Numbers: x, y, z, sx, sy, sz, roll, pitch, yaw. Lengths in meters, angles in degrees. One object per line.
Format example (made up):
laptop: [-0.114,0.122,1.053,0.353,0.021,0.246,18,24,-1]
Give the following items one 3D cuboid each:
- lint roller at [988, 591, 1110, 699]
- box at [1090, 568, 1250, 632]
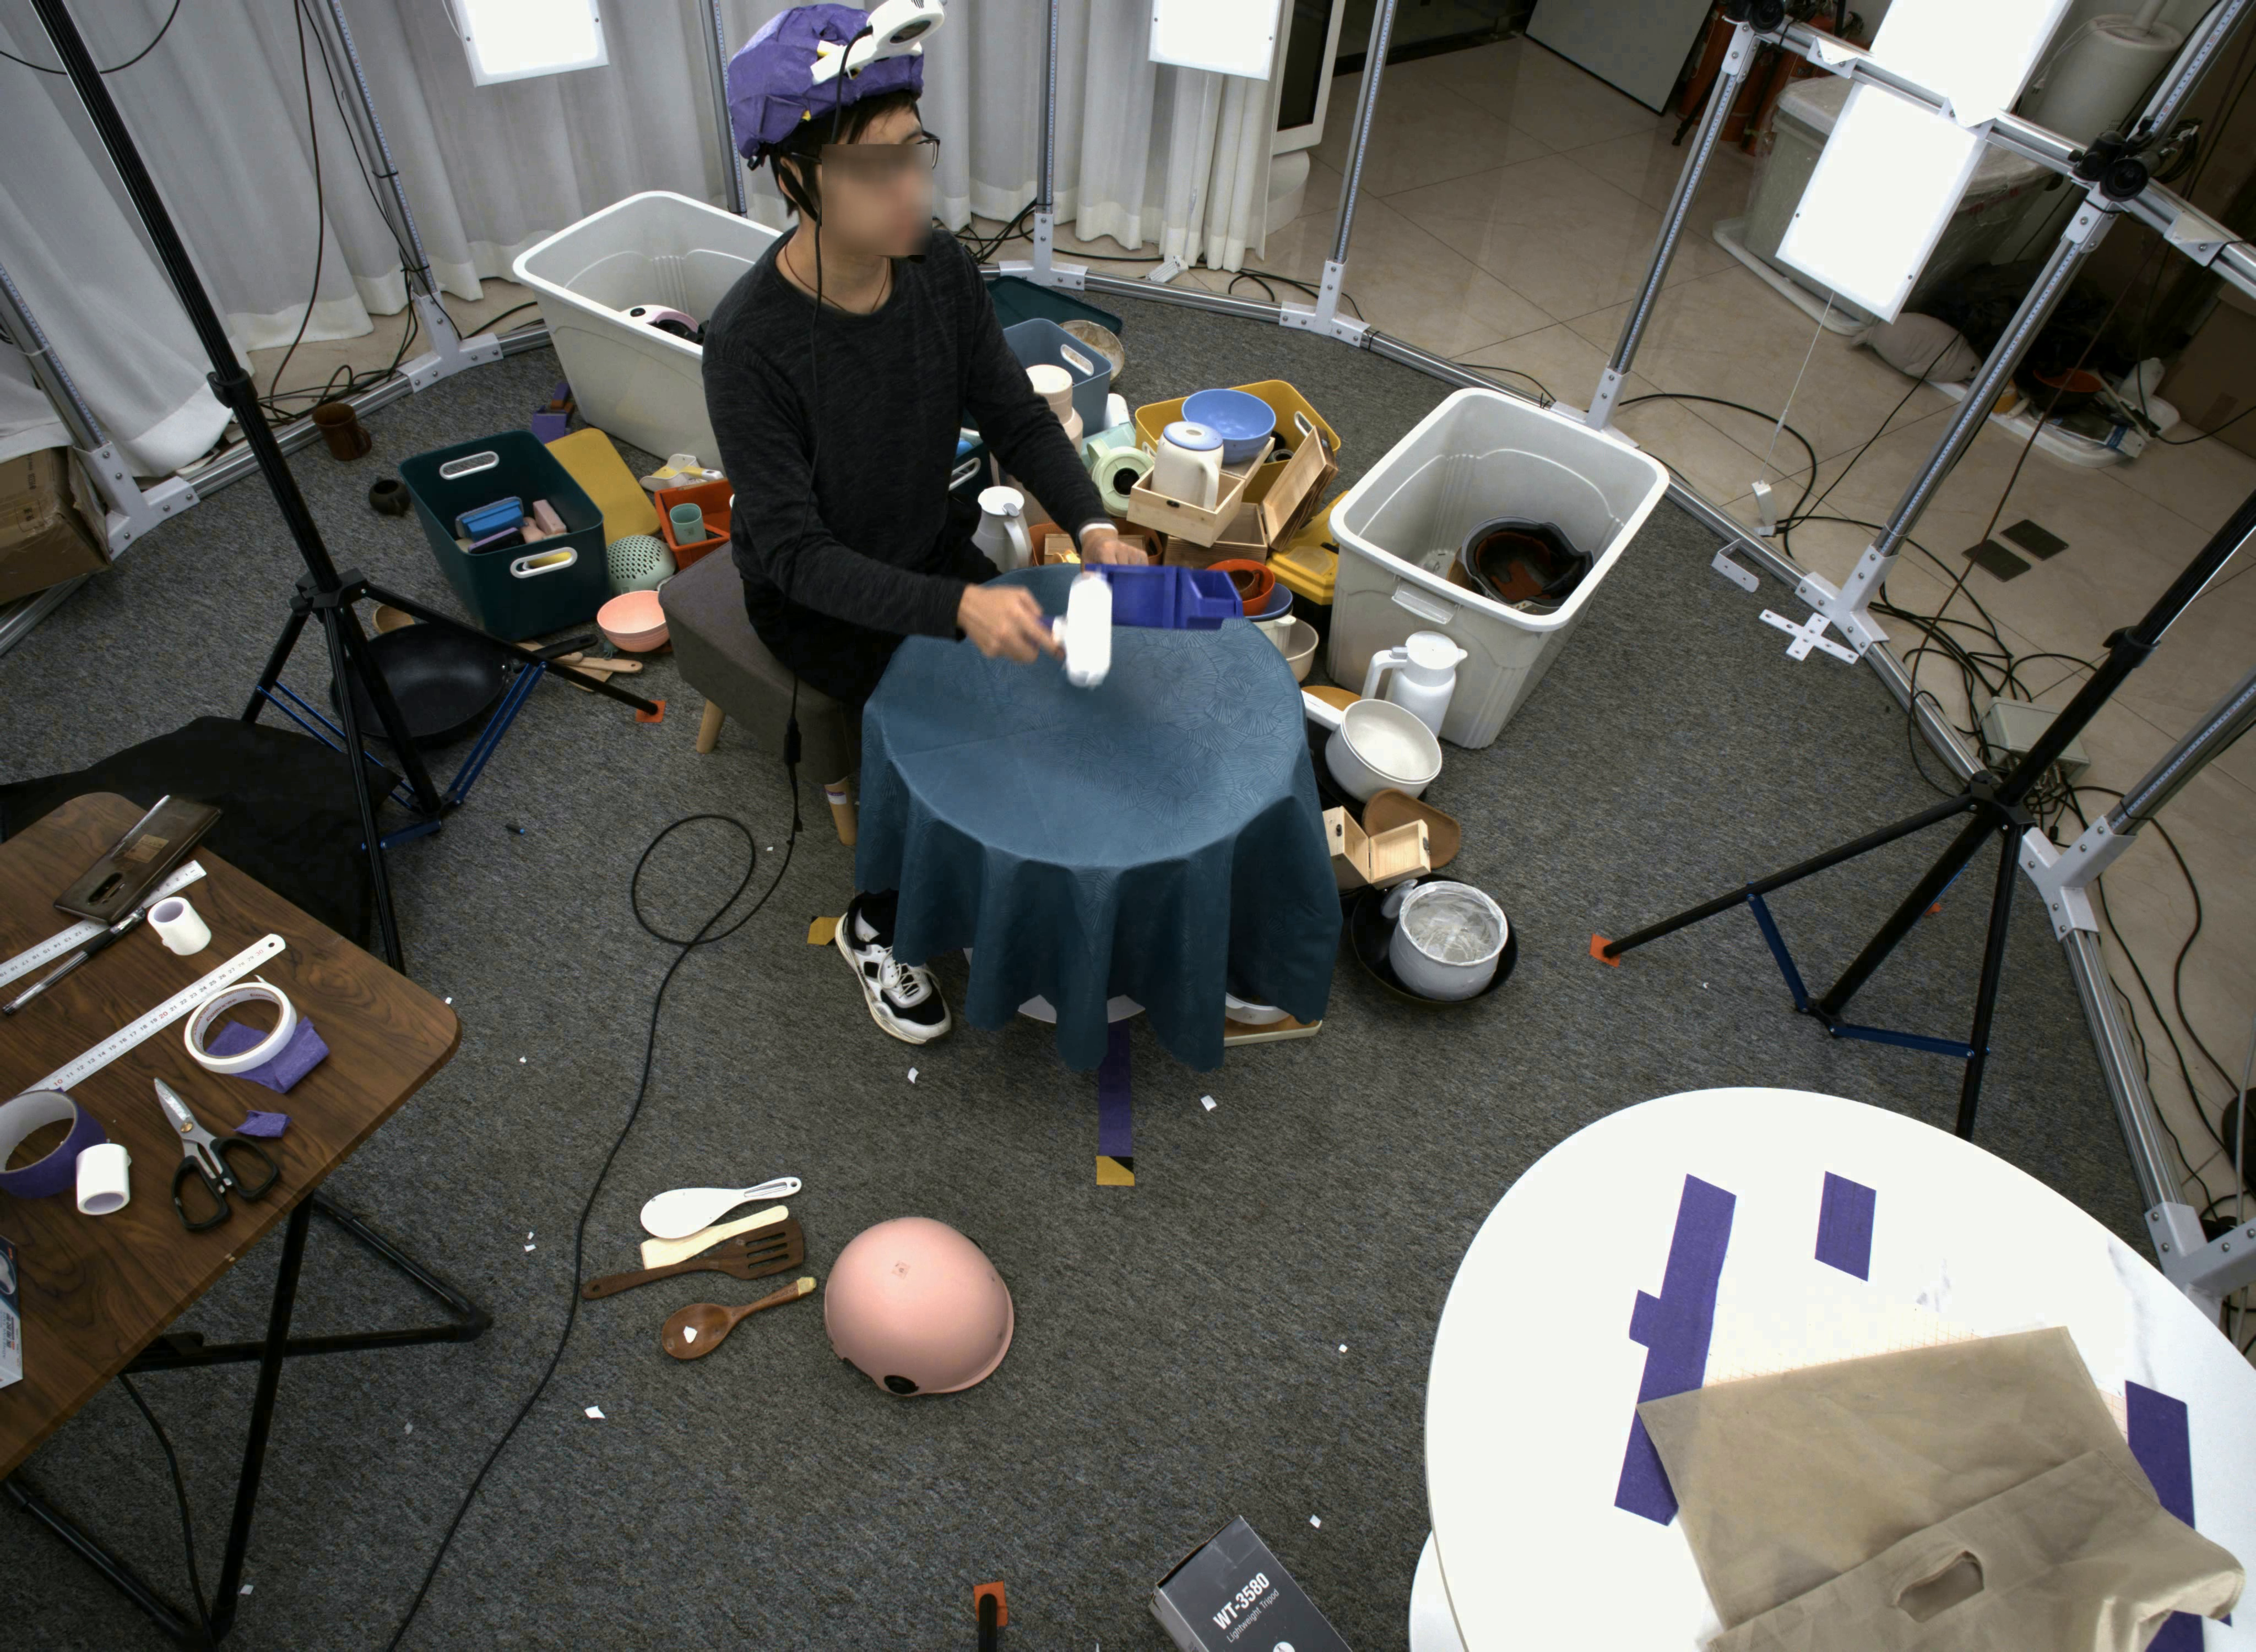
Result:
lint roller: [-0.108,-0.235,1.634,0.182,0.132,0.050,8,5,25]
box: [0.057,-0.299,1.710,0.180,0.081,0.124,6,9,33]
